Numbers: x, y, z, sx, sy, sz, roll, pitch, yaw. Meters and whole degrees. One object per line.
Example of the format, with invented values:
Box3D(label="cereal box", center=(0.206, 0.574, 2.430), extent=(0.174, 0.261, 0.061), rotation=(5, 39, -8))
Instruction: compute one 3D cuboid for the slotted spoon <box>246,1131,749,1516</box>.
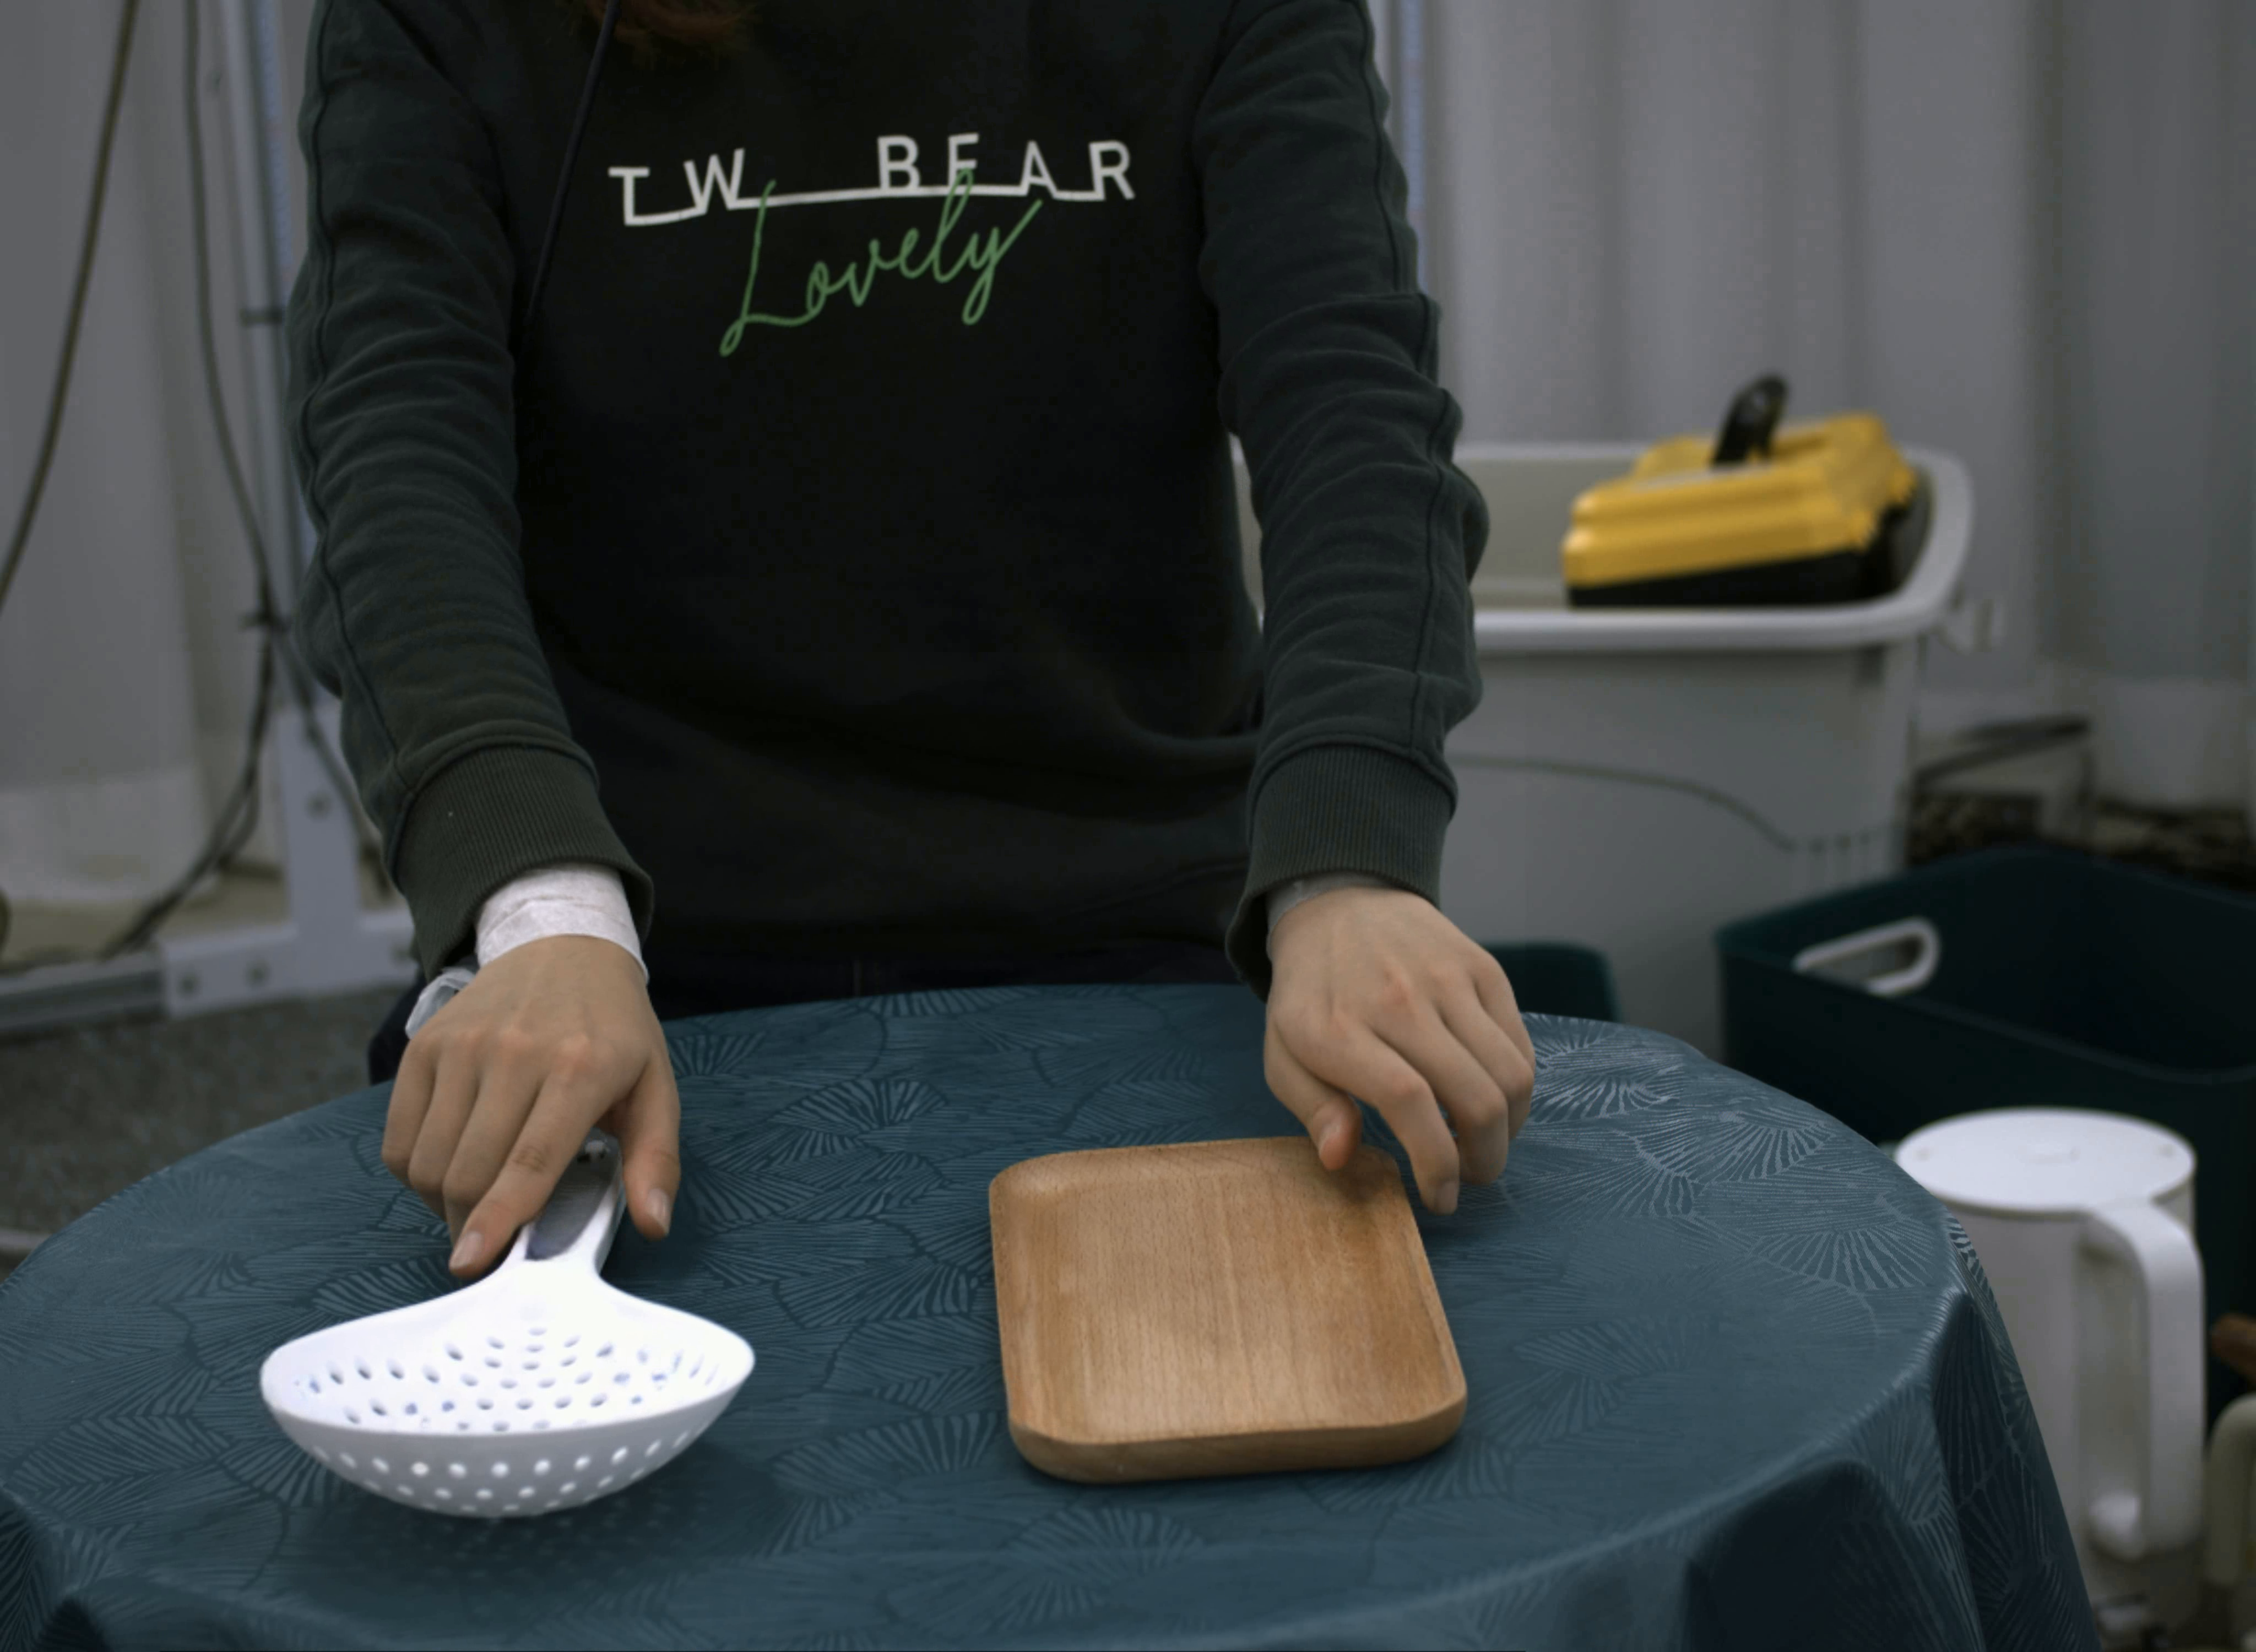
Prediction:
Box3D(label="slotted spoon", center=(-0.169, 0.134, 1.584), extent=(0.135, 0.045, 0.352), rotation=(0, 14, 0))

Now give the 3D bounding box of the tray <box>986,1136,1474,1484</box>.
Box3D(label="tray", center=(0.026, 0.138, 1.591), extent=(0.130, 0.023, 0.252), rotation=(-2, 14, -2))
